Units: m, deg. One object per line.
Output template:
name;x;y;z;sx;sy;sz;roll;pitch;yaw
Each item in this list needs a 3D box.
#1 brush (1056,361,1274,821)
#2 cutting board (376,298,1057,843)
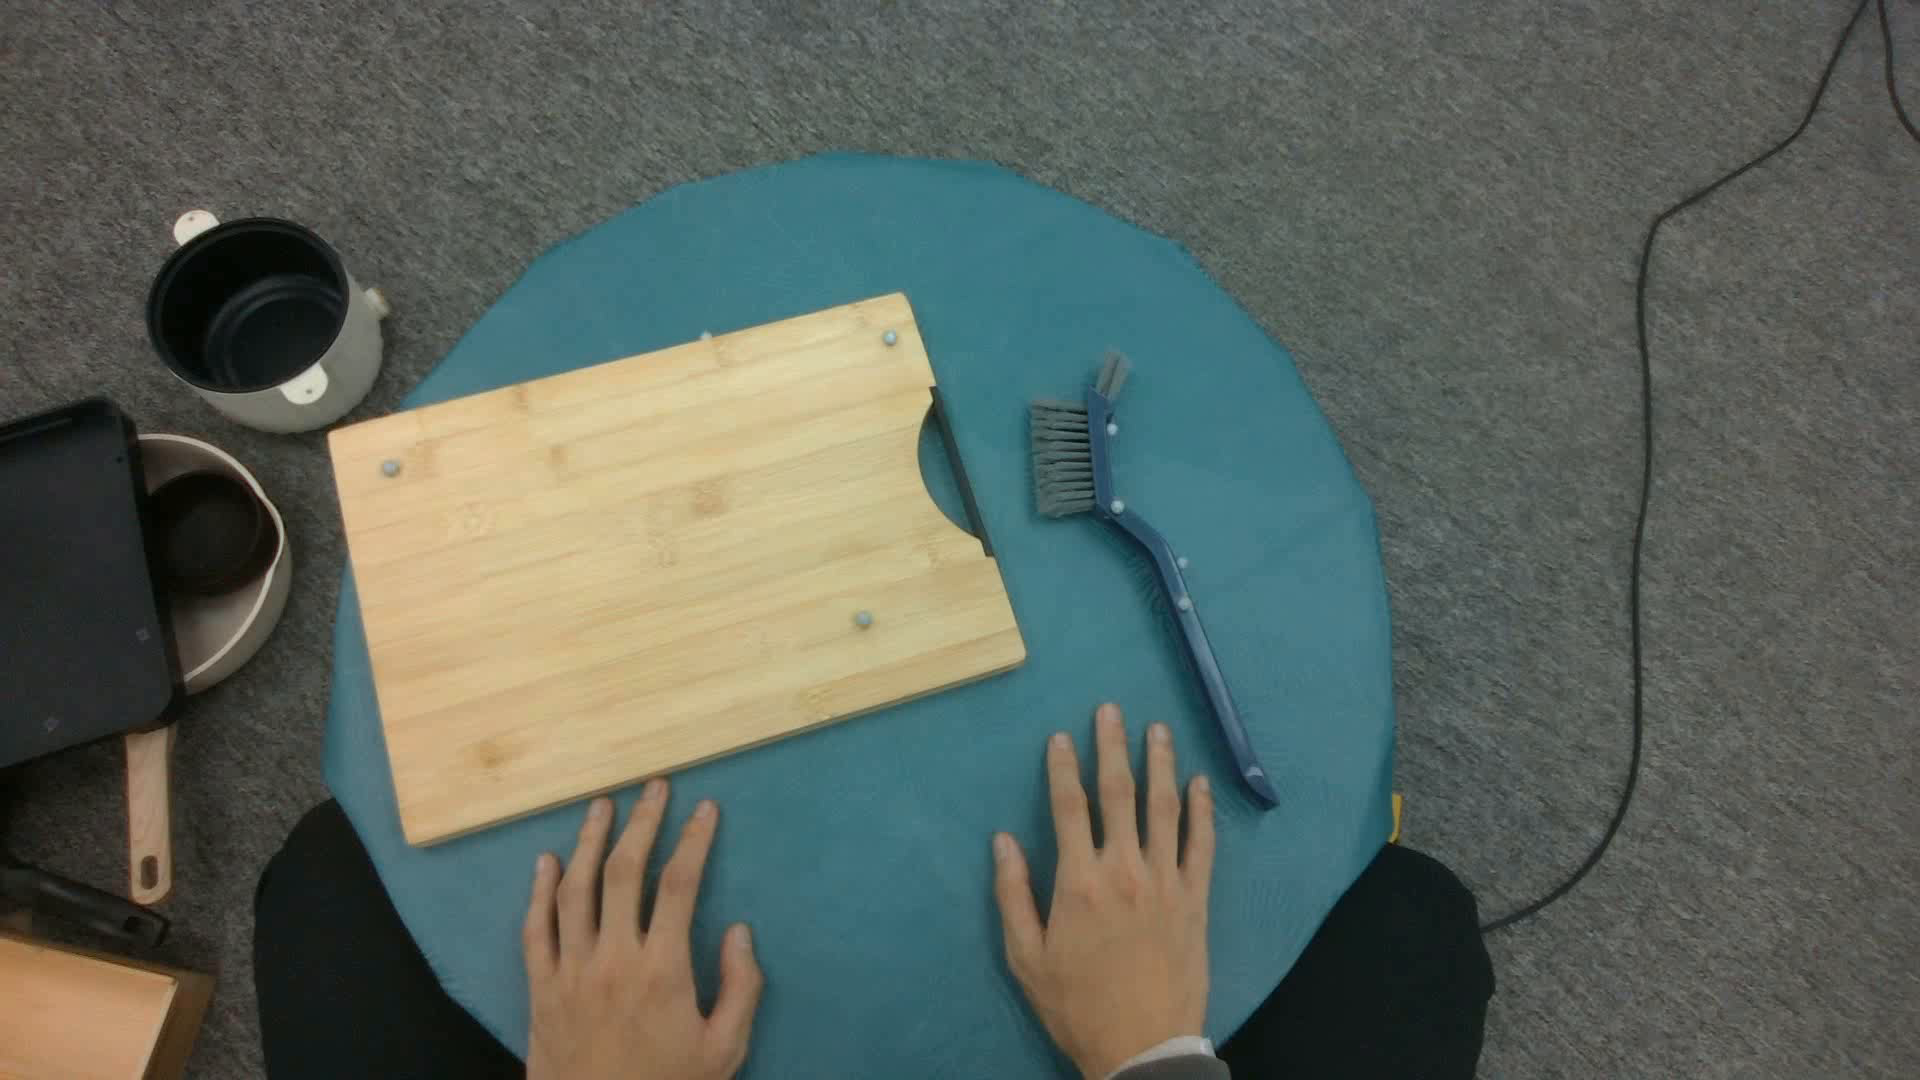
brush;0.133;0.025;0.798;0.096;0.033;0.273;-25;73;-11
cutting board;-0.146;0.008;0.797;0.349;0.023;0.251;-17;74;-8
